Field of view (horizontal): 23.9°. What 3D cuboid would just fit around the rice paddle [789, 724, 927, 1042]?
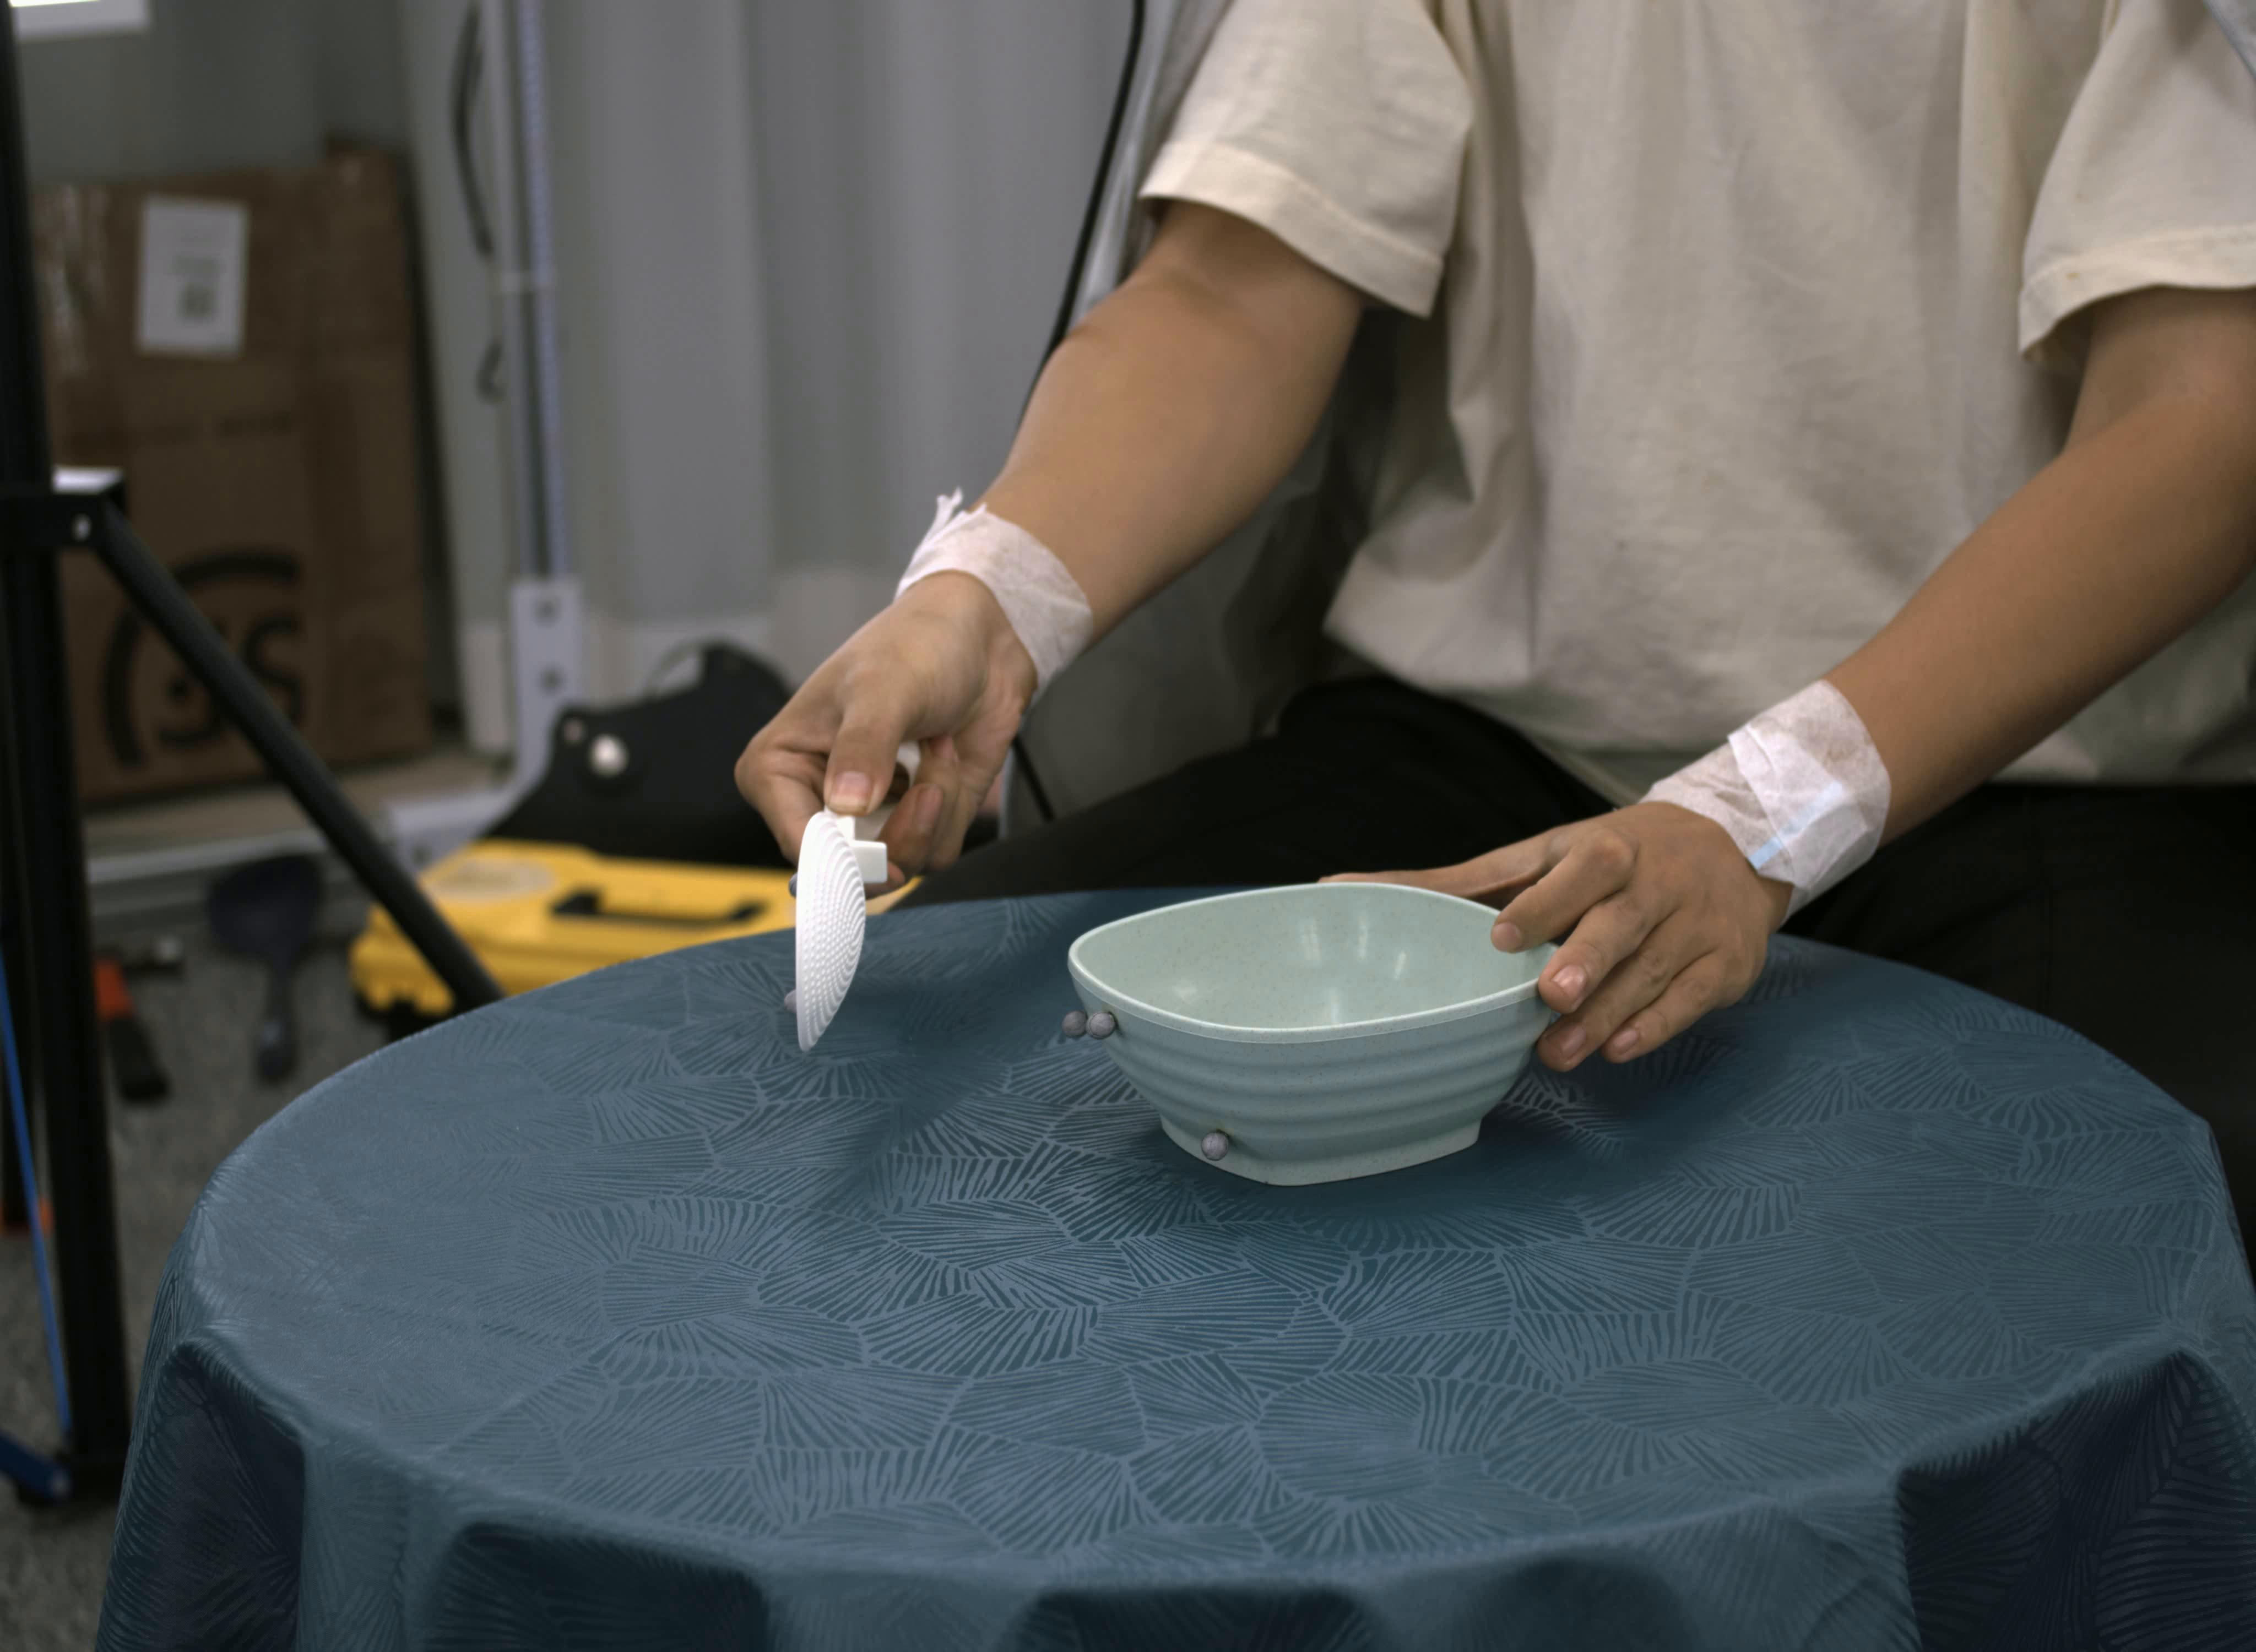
[{"bbox_3d":[-0.090,0.011,1.656,0.029,0.069,0.205,-1,17,6],"label":"rice paddle"}]

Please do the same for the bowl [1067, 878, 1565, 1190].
[{"bbox_3d":[0.058,0.065,1.592,0.151,0.058,0.152,-5,16,0],"label":"bowl"}]
